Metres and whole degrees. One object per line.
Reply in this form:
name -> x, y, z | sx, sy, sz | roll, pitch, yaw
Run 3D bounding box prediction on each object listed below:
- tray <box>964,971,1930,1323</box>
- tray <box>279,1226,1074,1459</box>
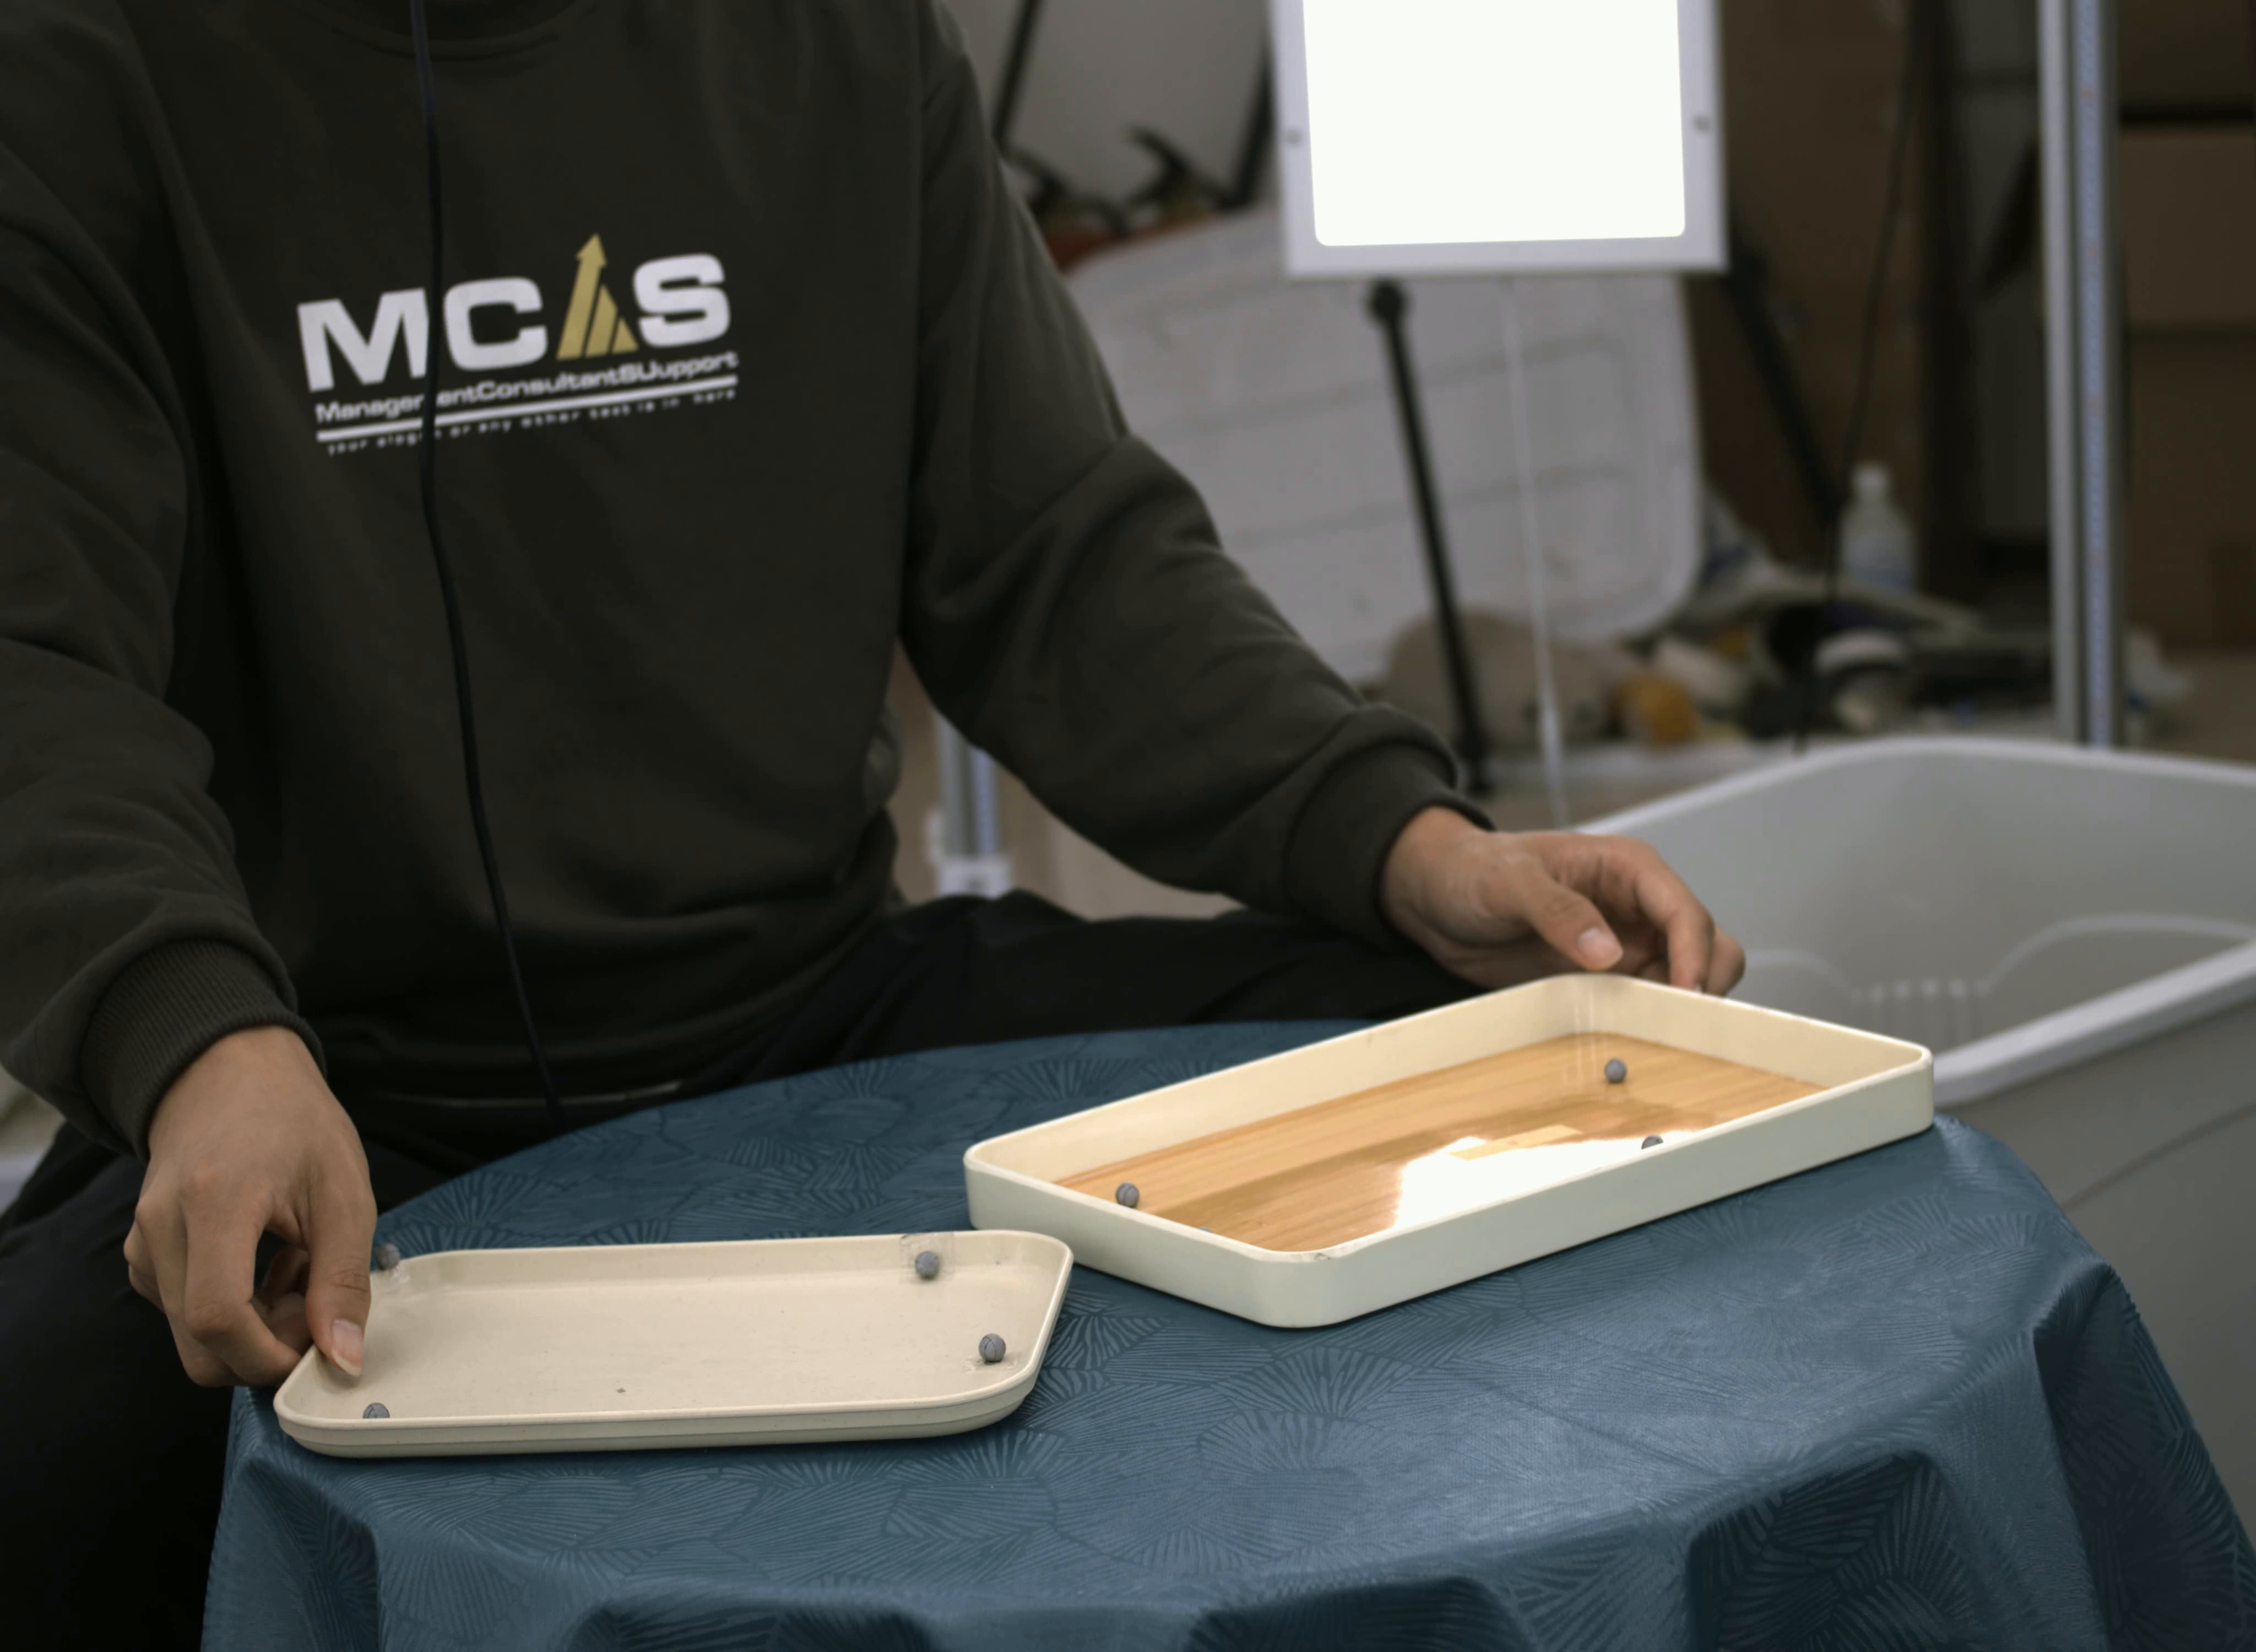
tray -> 0.112, 0.106, 1.887 | 0.293, 0.027, 0.195 | -14, 16, -34
tray -> -0.140, 0.165, 1.754 | 0.241, 0.017, 0.170 | -3, 14, 8
